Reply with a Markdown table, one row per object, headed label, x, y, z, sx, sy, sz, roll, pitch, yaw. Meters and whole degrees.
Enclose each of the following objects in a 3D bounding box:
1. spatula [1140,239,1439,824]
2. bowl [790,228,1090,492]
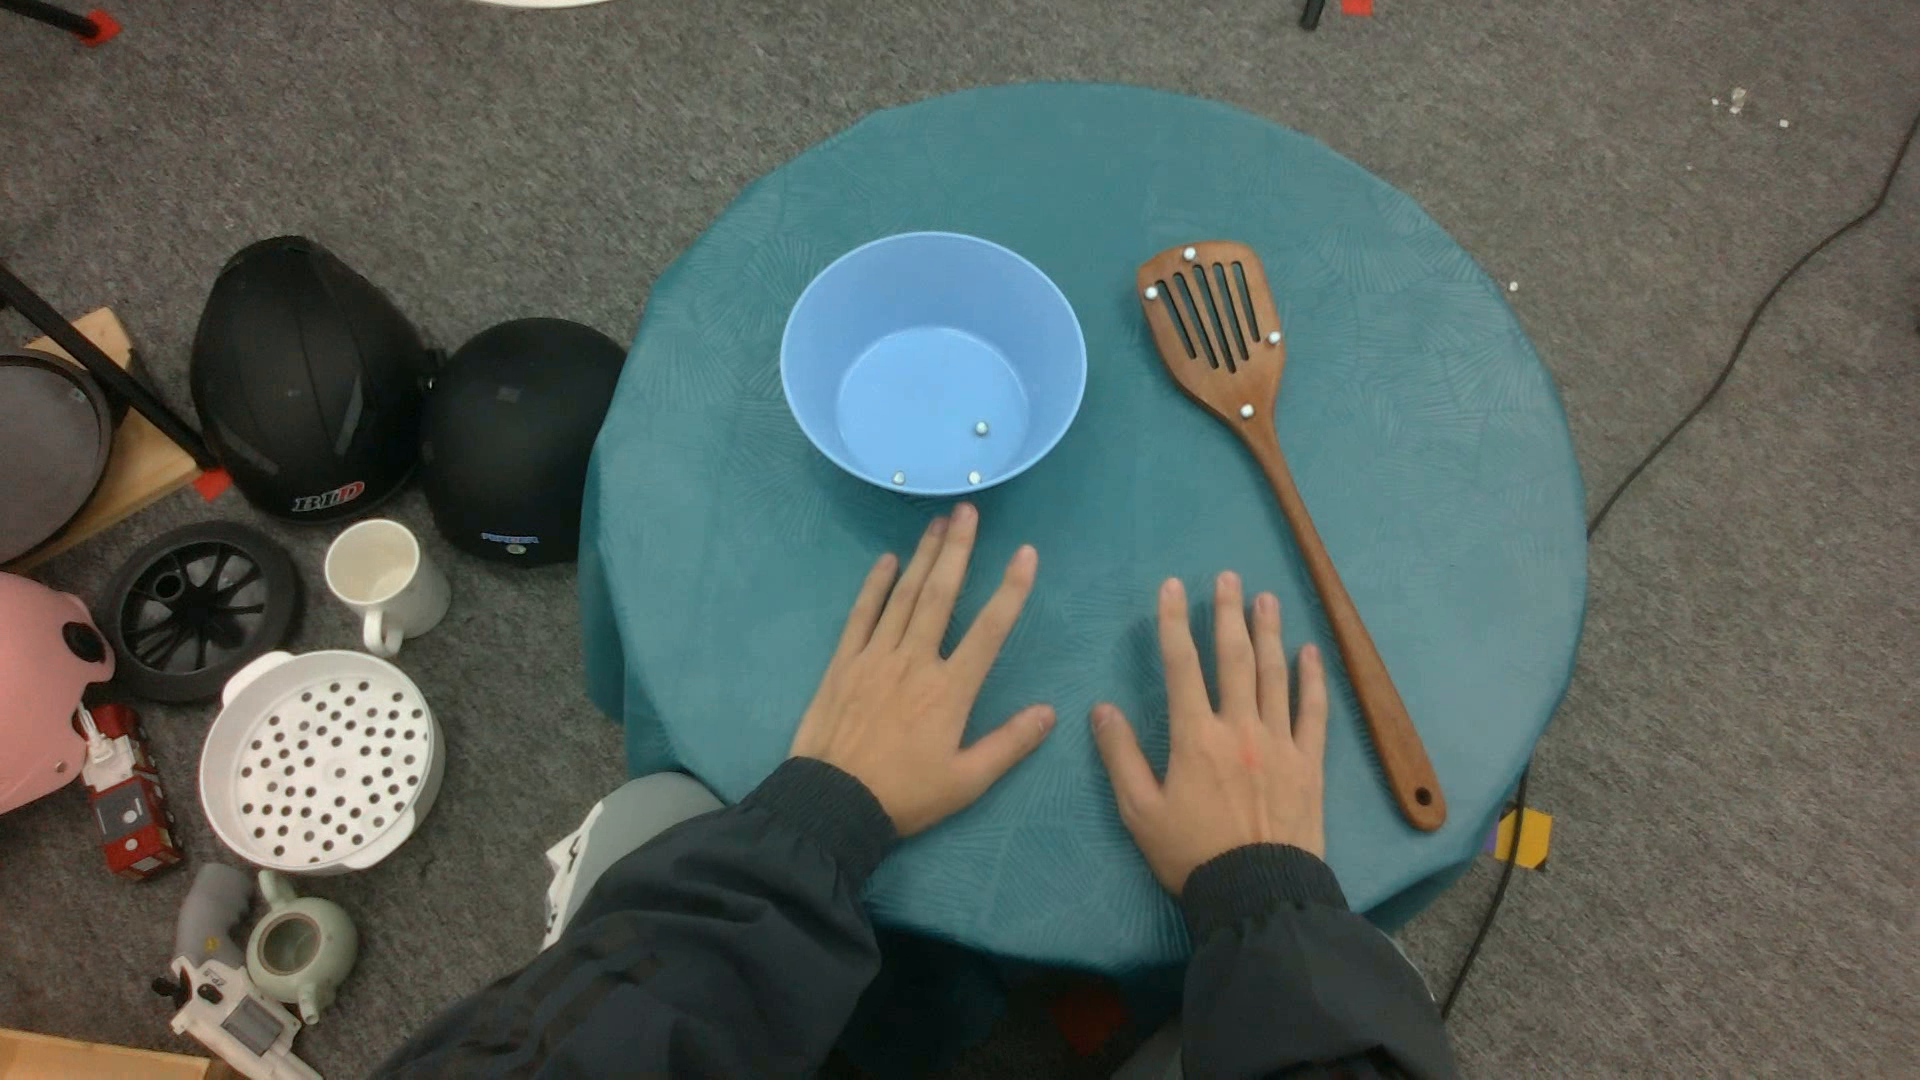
| label | x | y | z | sx | sy | sz | roll | pitch | yaw |
| --- | --- | --- | --- | --- | --- | --- | --- | --- | --- |
| spatula | 0.204 | -0.016 | 0.828 | 0.085 | 0.024 | 0.387 | -14 | 68 | -7 |
| bowl | -0.012 | -0.096 | 0.830 | 0.176 | 0.070 | 0.176 | 1 | 67 | -1 |
